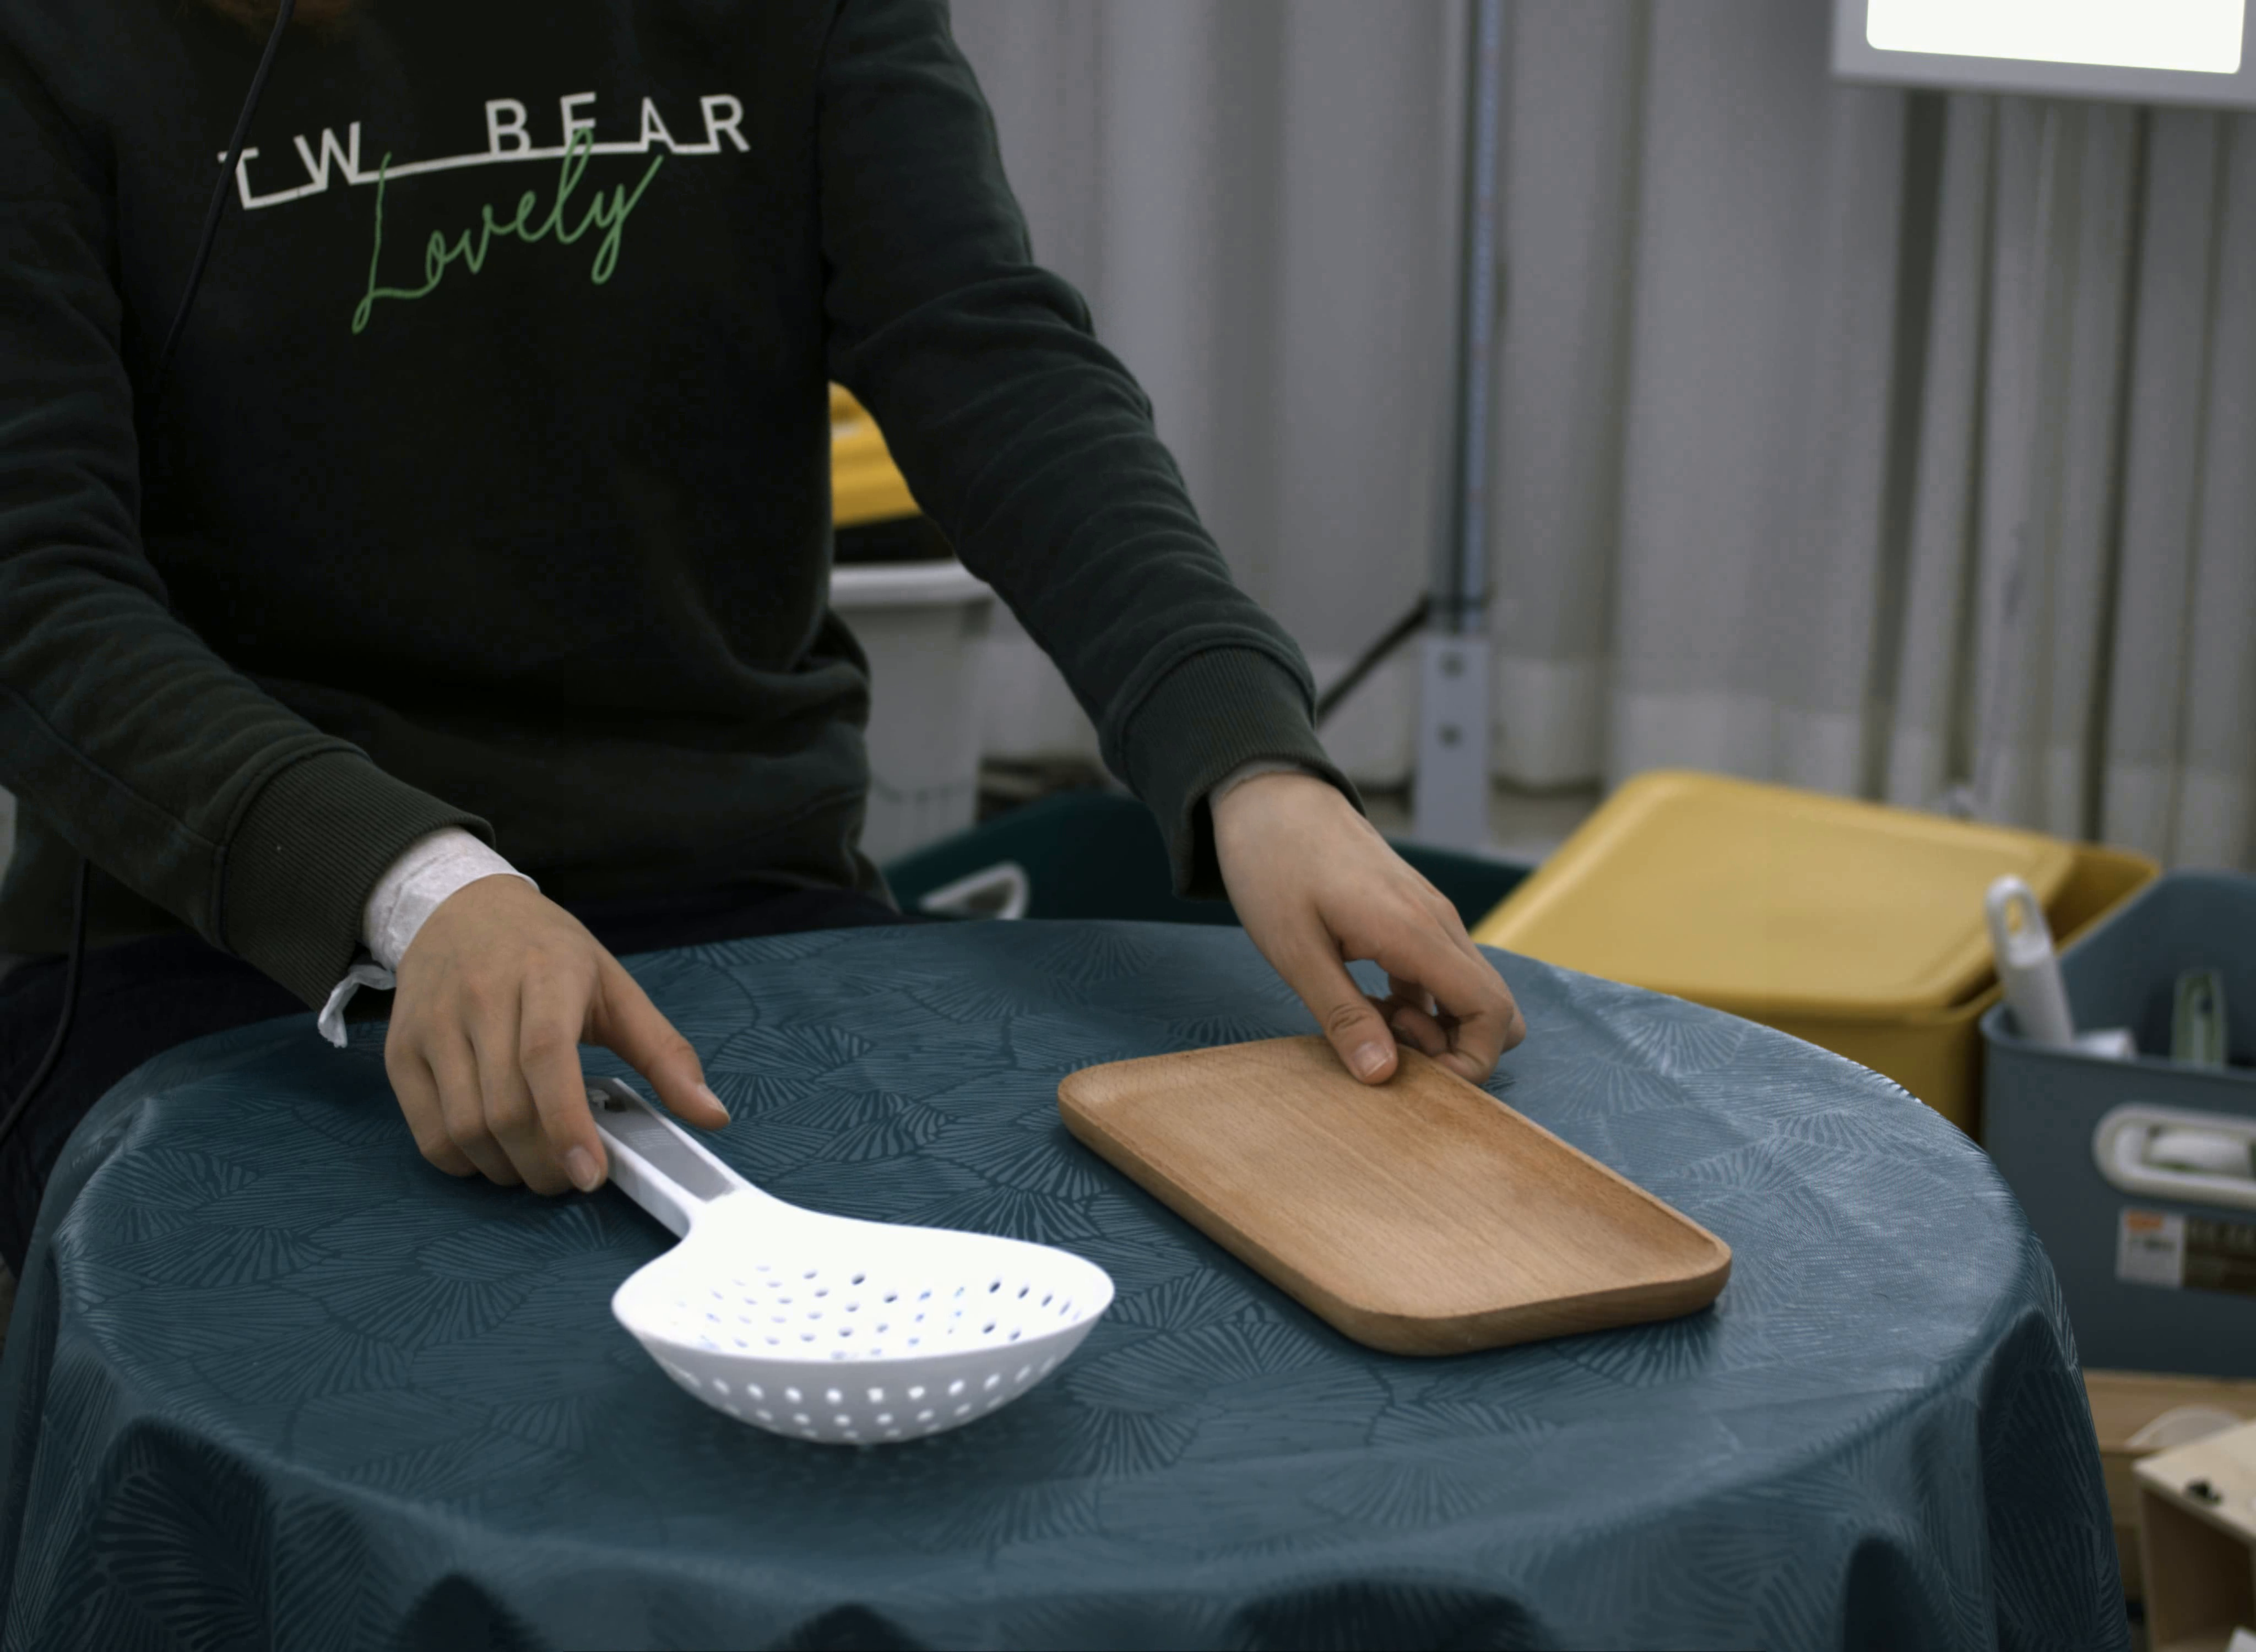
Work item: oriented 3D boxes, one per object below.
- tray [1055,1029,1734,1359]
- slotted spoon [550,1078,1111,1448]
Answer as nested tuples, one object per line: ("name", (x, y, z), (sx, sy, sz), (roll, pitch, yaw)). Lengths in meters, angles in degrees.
("tray", (0.077, 0.109, 1.610), (0.131, 0.023, 0.248), (-5, 16, -24))
("slotted spoon", (-0.111, 0.117, 1.524), (0.136, 0.046, 0.346), (-3, 15, -21))
